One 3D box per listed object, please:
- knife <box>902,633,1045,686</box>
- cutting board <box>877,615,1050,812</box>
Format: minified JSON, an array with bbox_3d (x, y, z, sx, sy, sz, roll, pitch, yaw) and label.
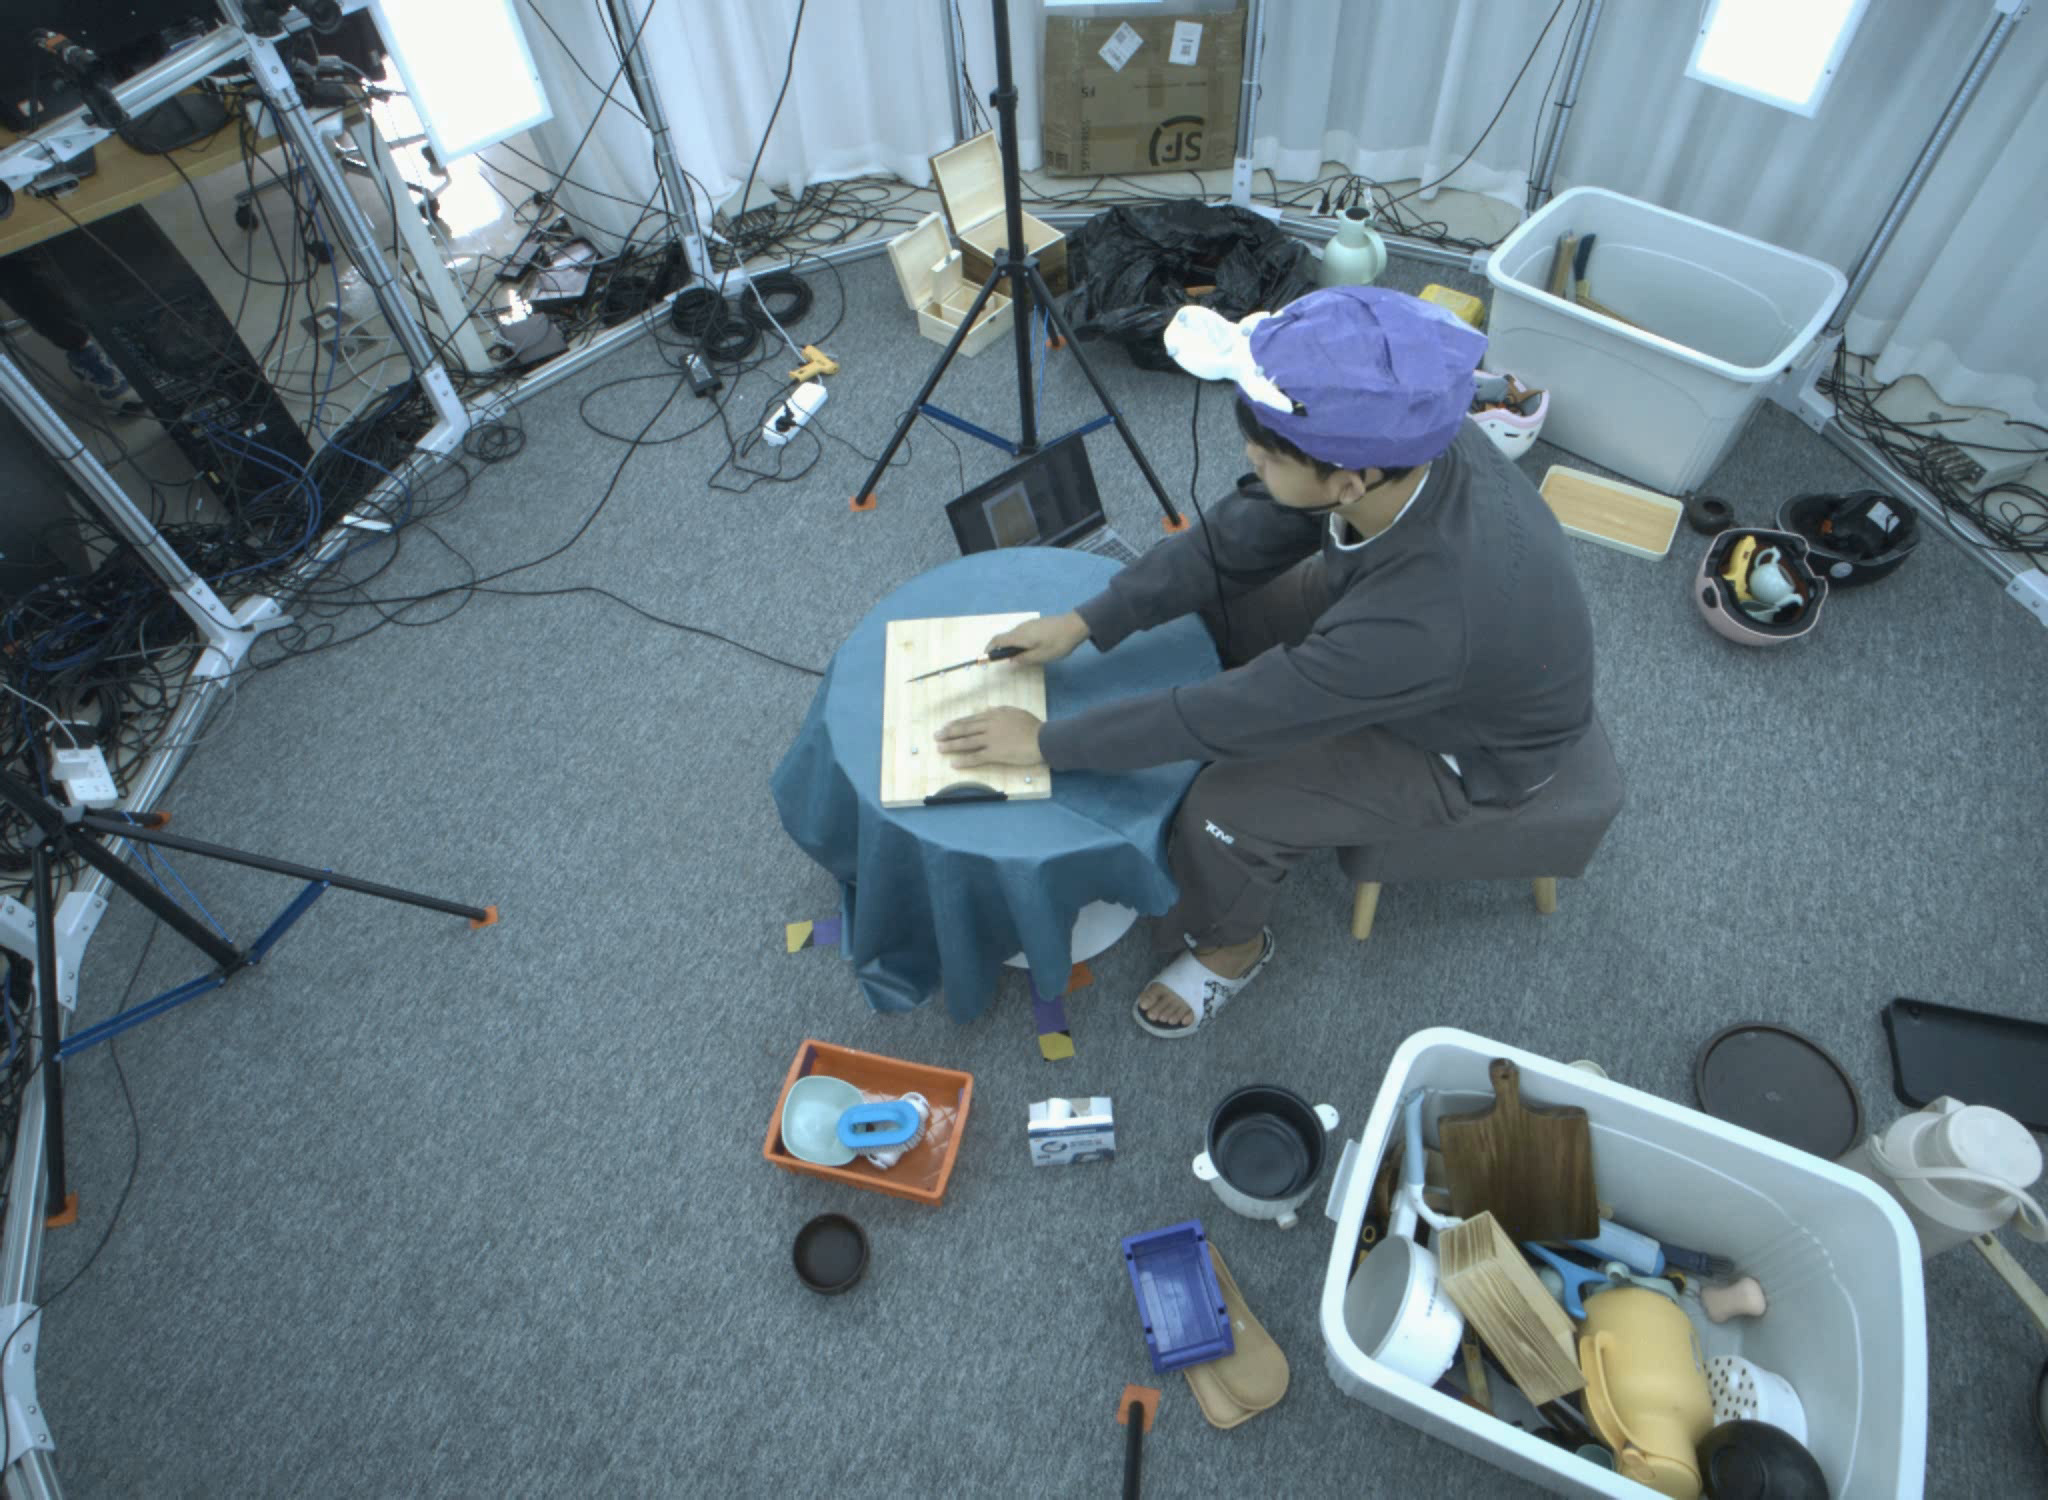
[{"bbox_3d":[-0.074,-0.134,1.813,0.227,0.026,0.017,-20,82,-16],"label":"knife"},{"bbox_3d":[-0.090,-0.063,1.824,0.251,0.024,0.344,-4,55,-1],"label":"cutting board"}]
